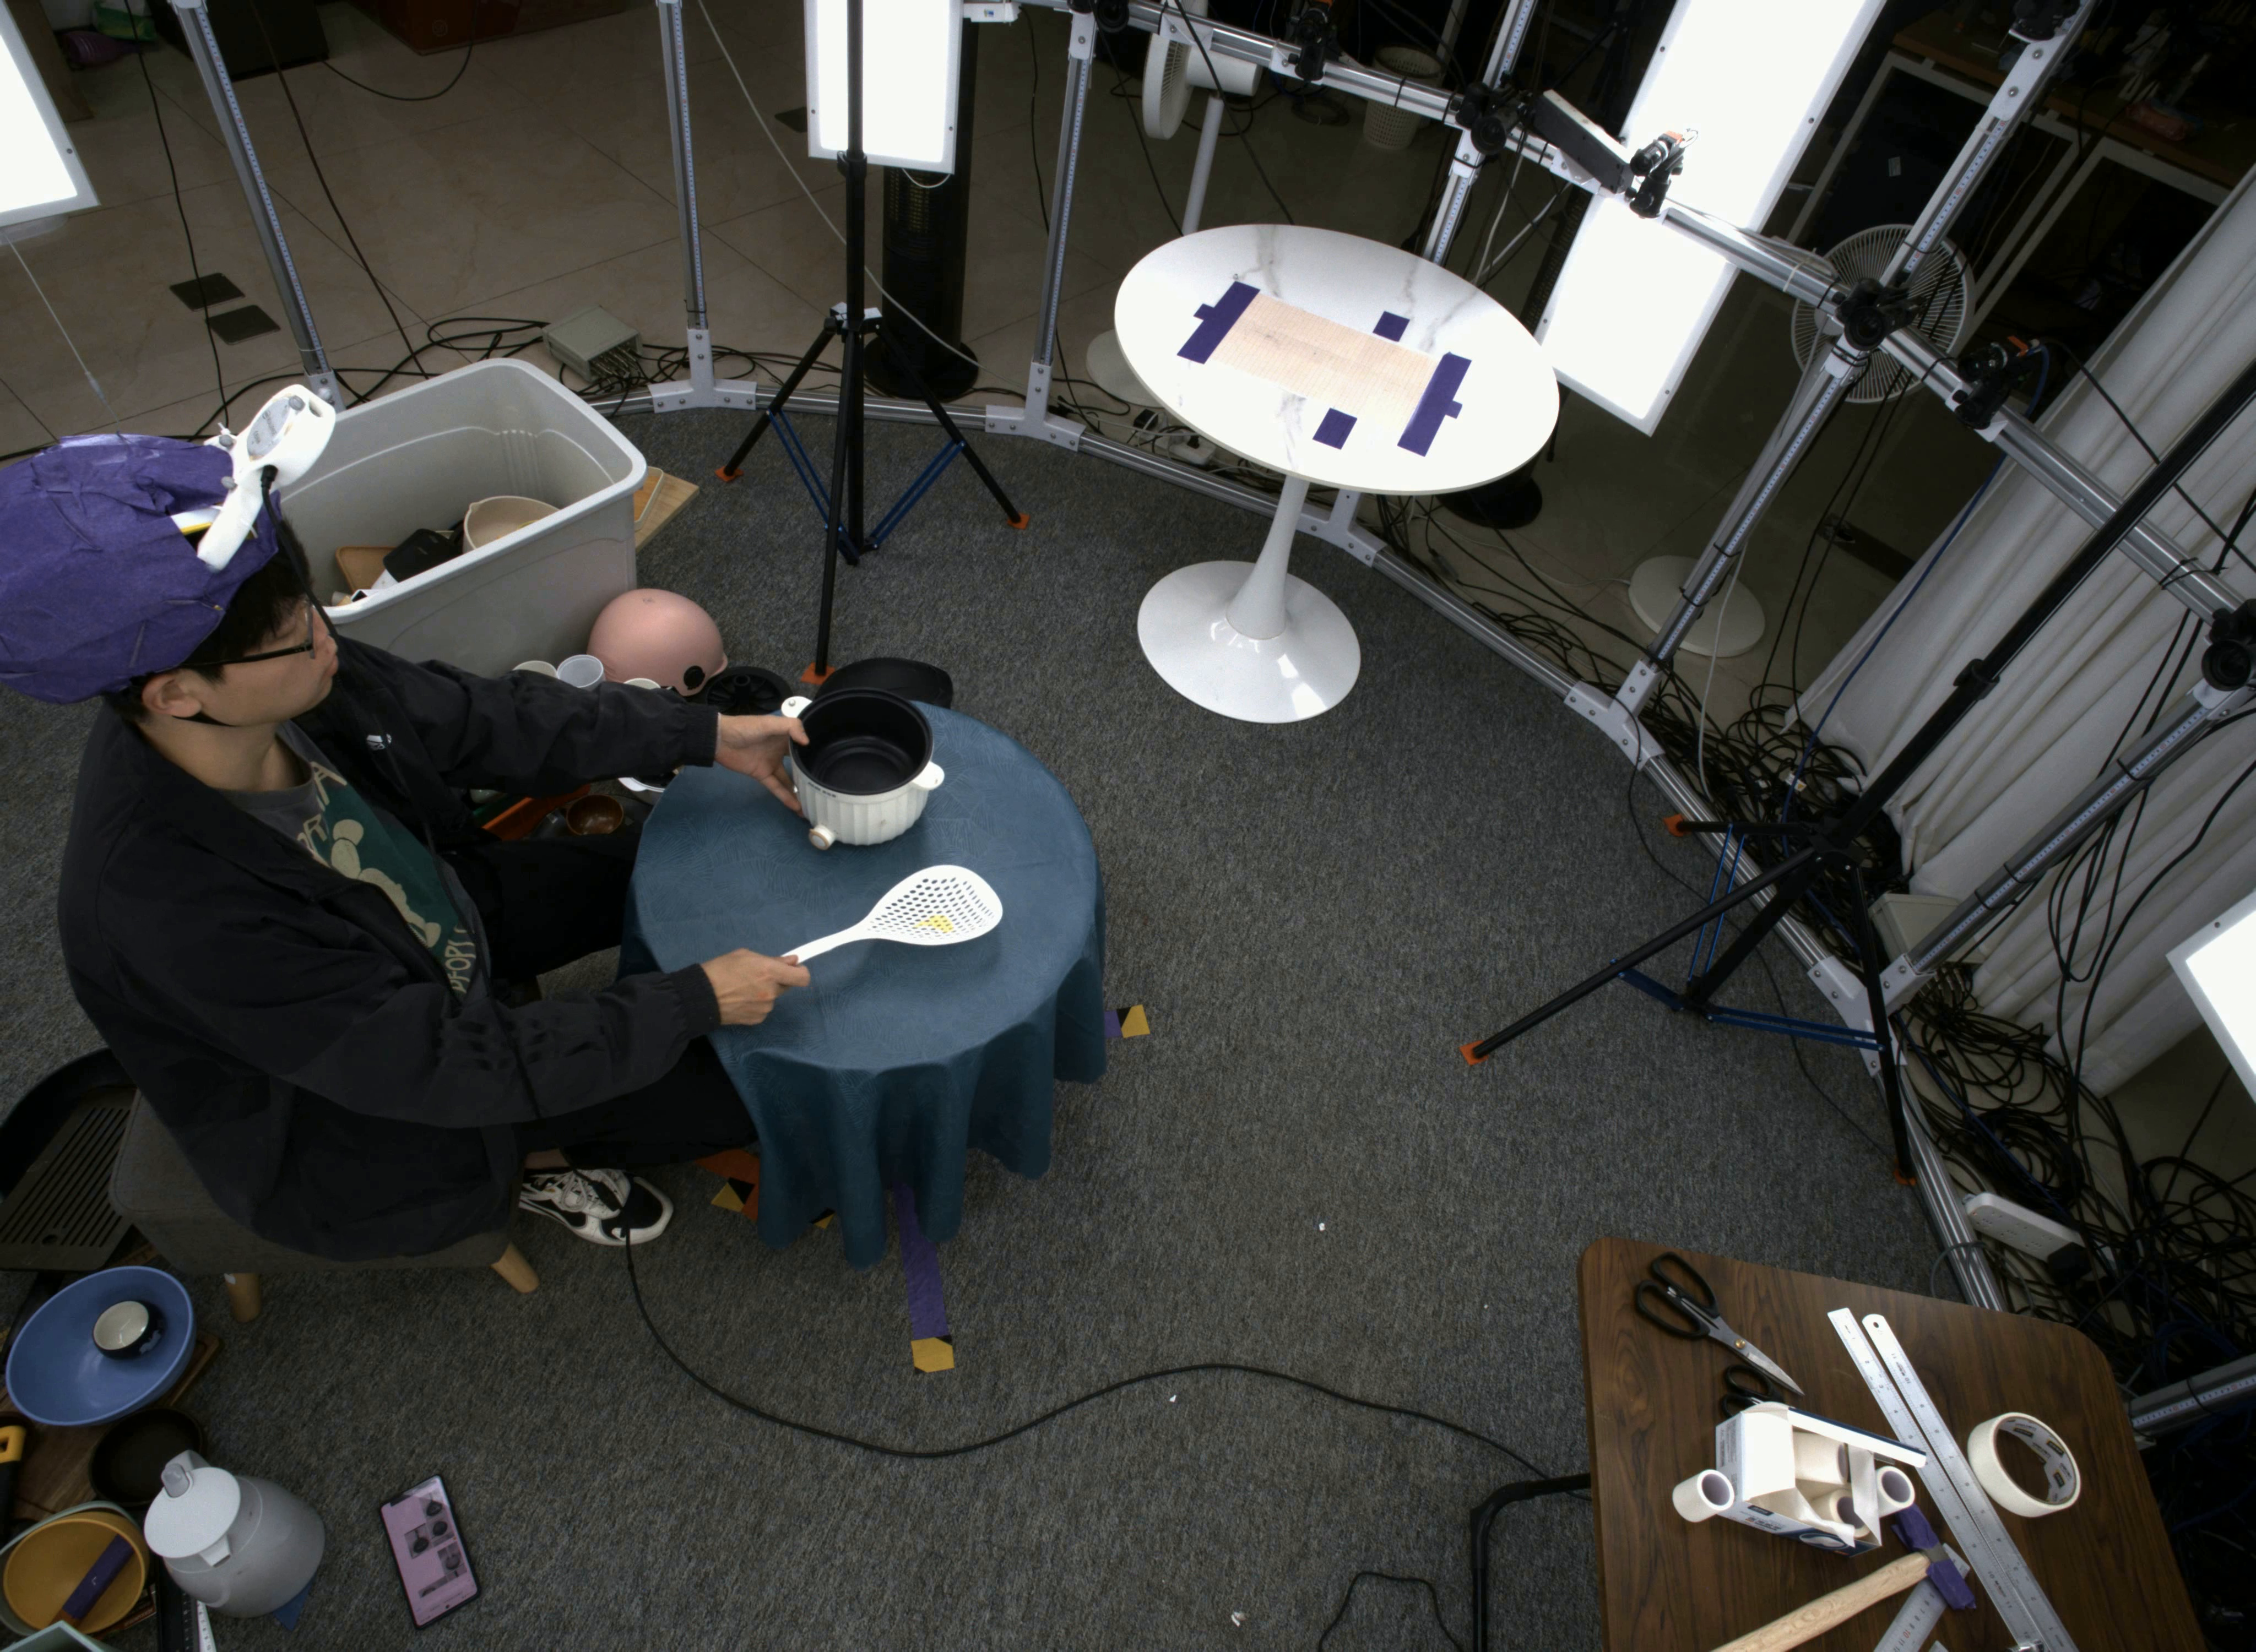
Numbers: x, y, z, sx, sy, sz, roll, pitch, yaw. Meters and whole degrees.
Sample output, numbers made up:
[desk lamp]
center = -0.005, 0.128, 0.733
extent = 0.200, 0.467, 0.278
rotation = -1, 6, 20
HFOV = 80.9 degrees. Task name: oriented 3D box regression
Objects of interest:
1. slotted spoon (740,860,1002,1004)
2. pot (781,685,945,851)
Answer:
[slotted spoon]
center = -0.315, 0.134, 1.591
extent = 0.351, 0.051, 0.132
rotation = -18, 51, -37
[pot]
center = -0.351, -0.068, 1.704
extent = 0.236, 0.146, 0.189
rotation = 26, 49, 9
